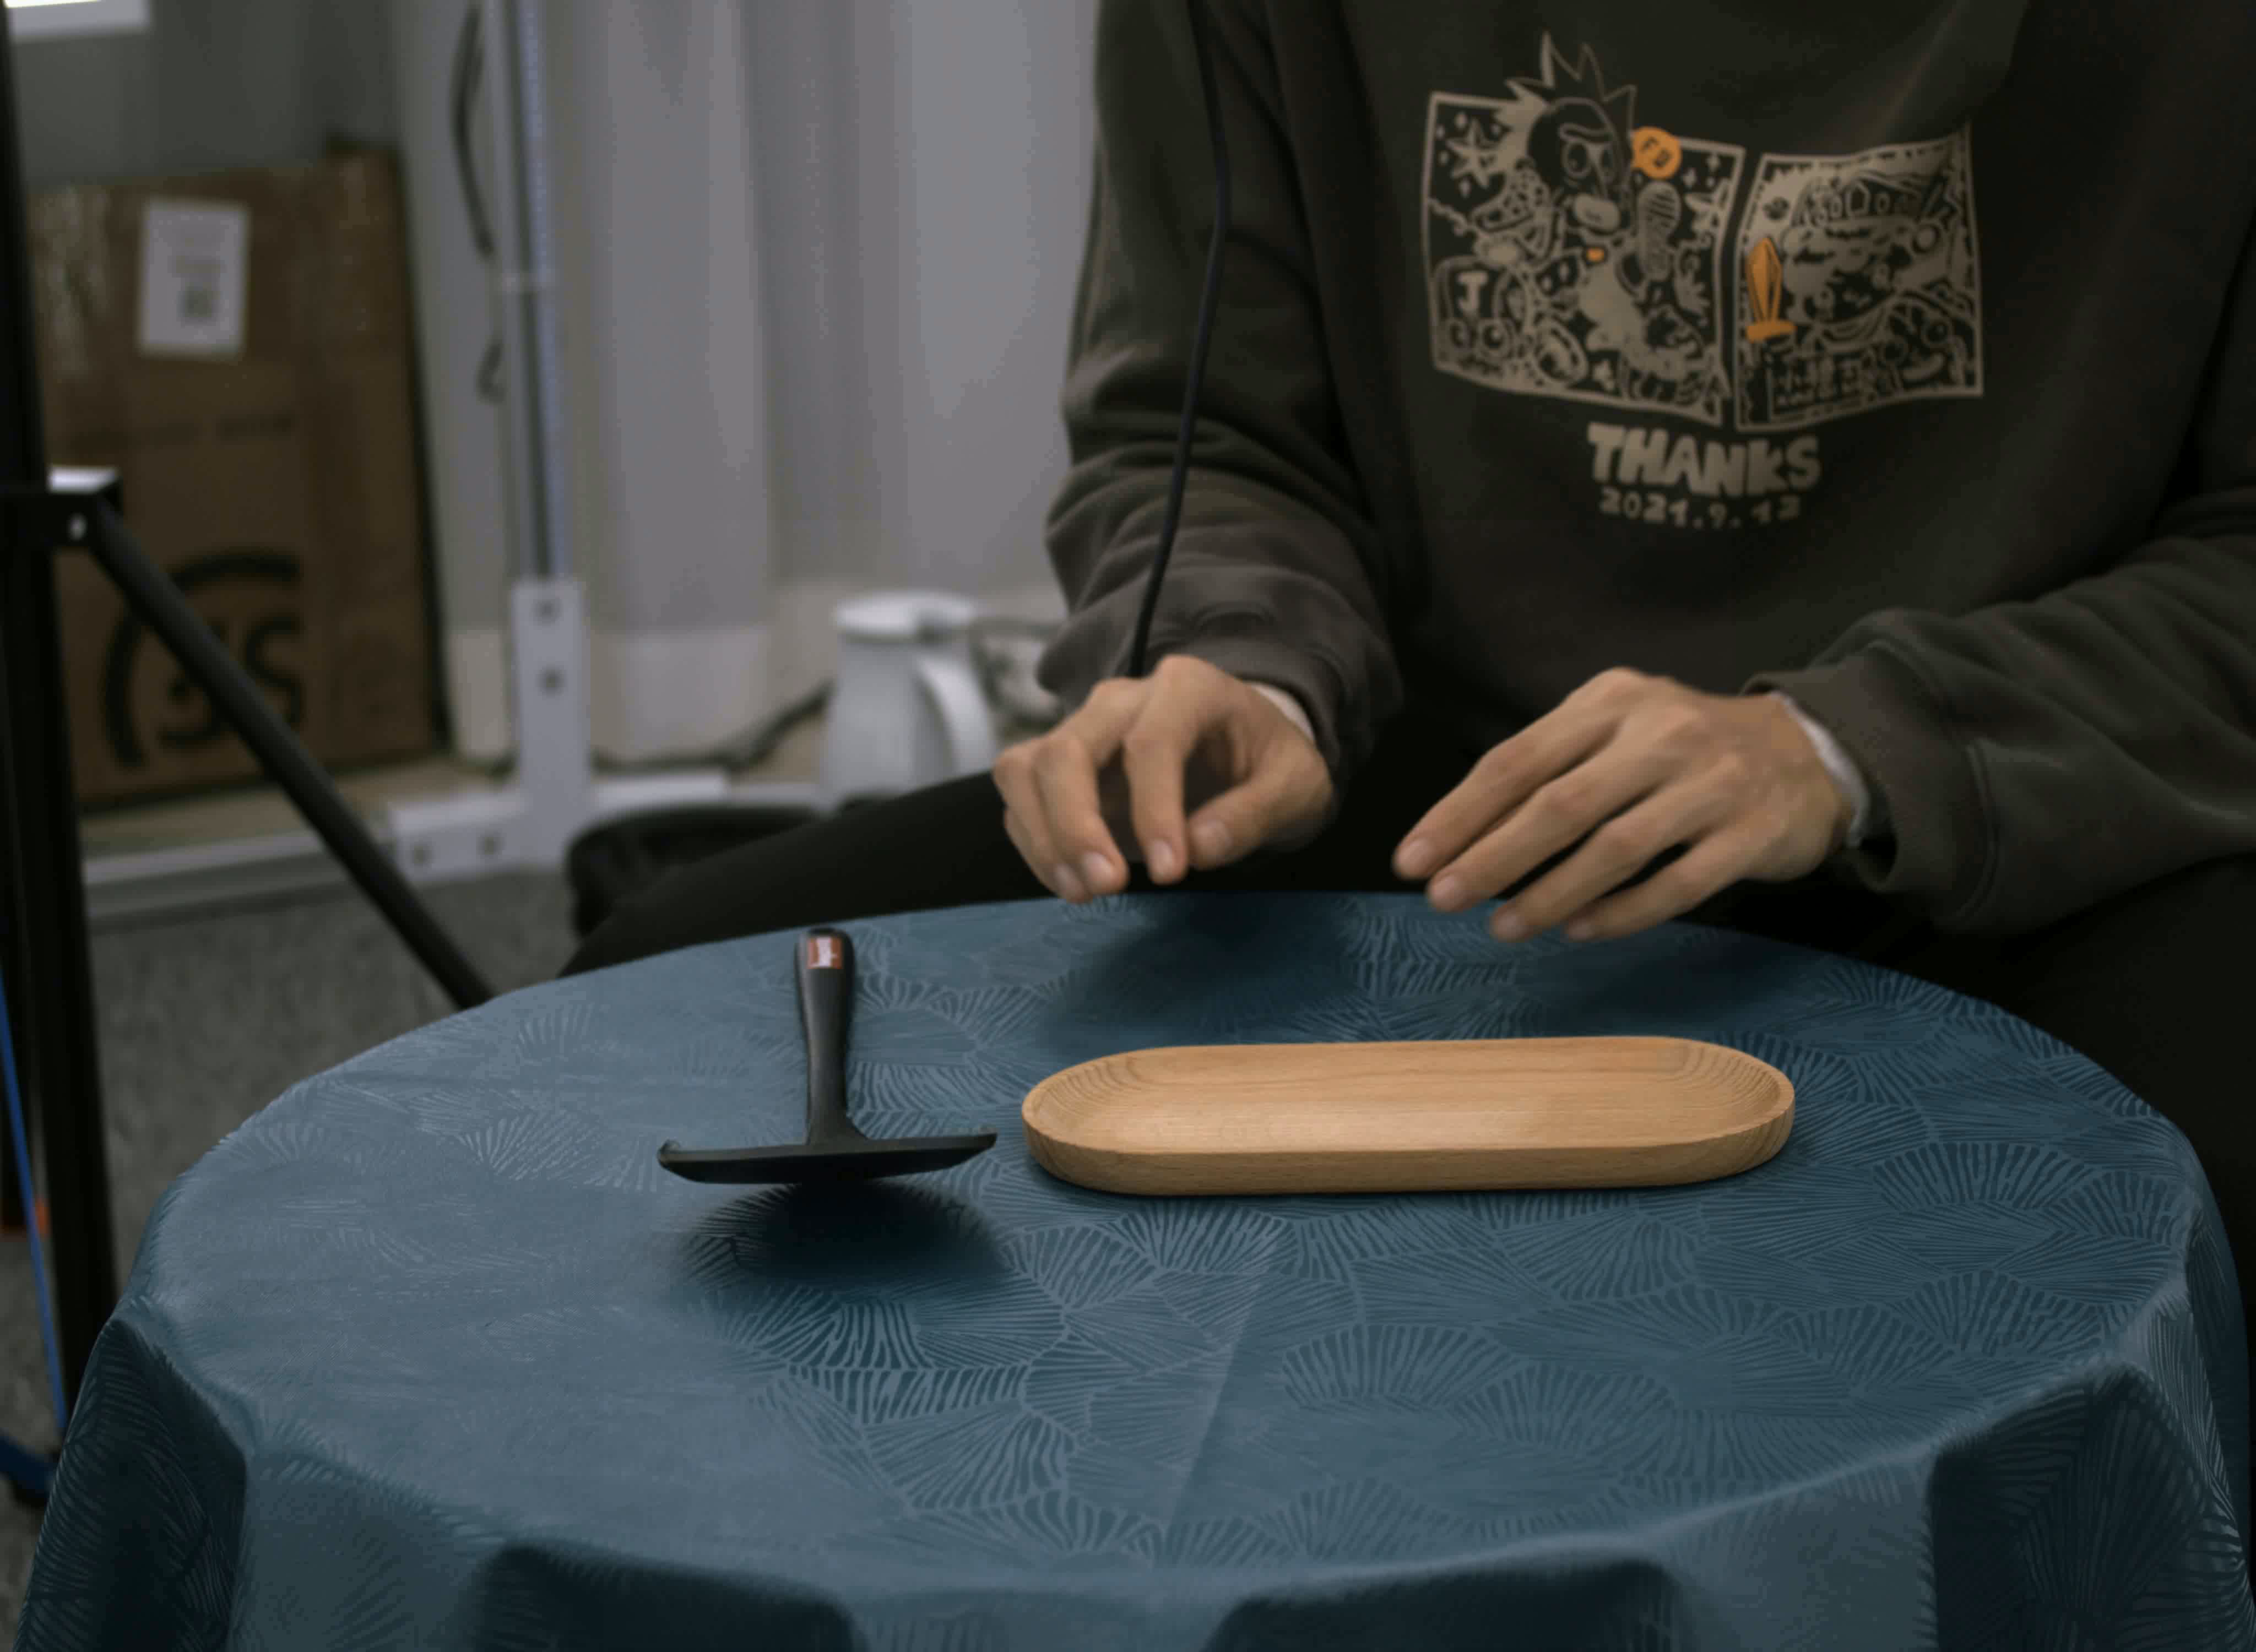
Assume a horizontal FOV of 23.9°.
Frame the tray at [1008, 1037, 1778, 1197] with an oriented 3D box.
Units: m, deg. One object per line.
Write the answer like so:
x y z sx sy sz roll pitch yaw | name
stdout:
0.079 0.088 1.590 0.231 0.020 0.102 -2 15 6 | tray

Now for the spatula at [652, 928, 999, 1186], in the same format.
-0.095 0.067 1.657 0.099 0.040 0.328 -2 16 -3 | spatula
